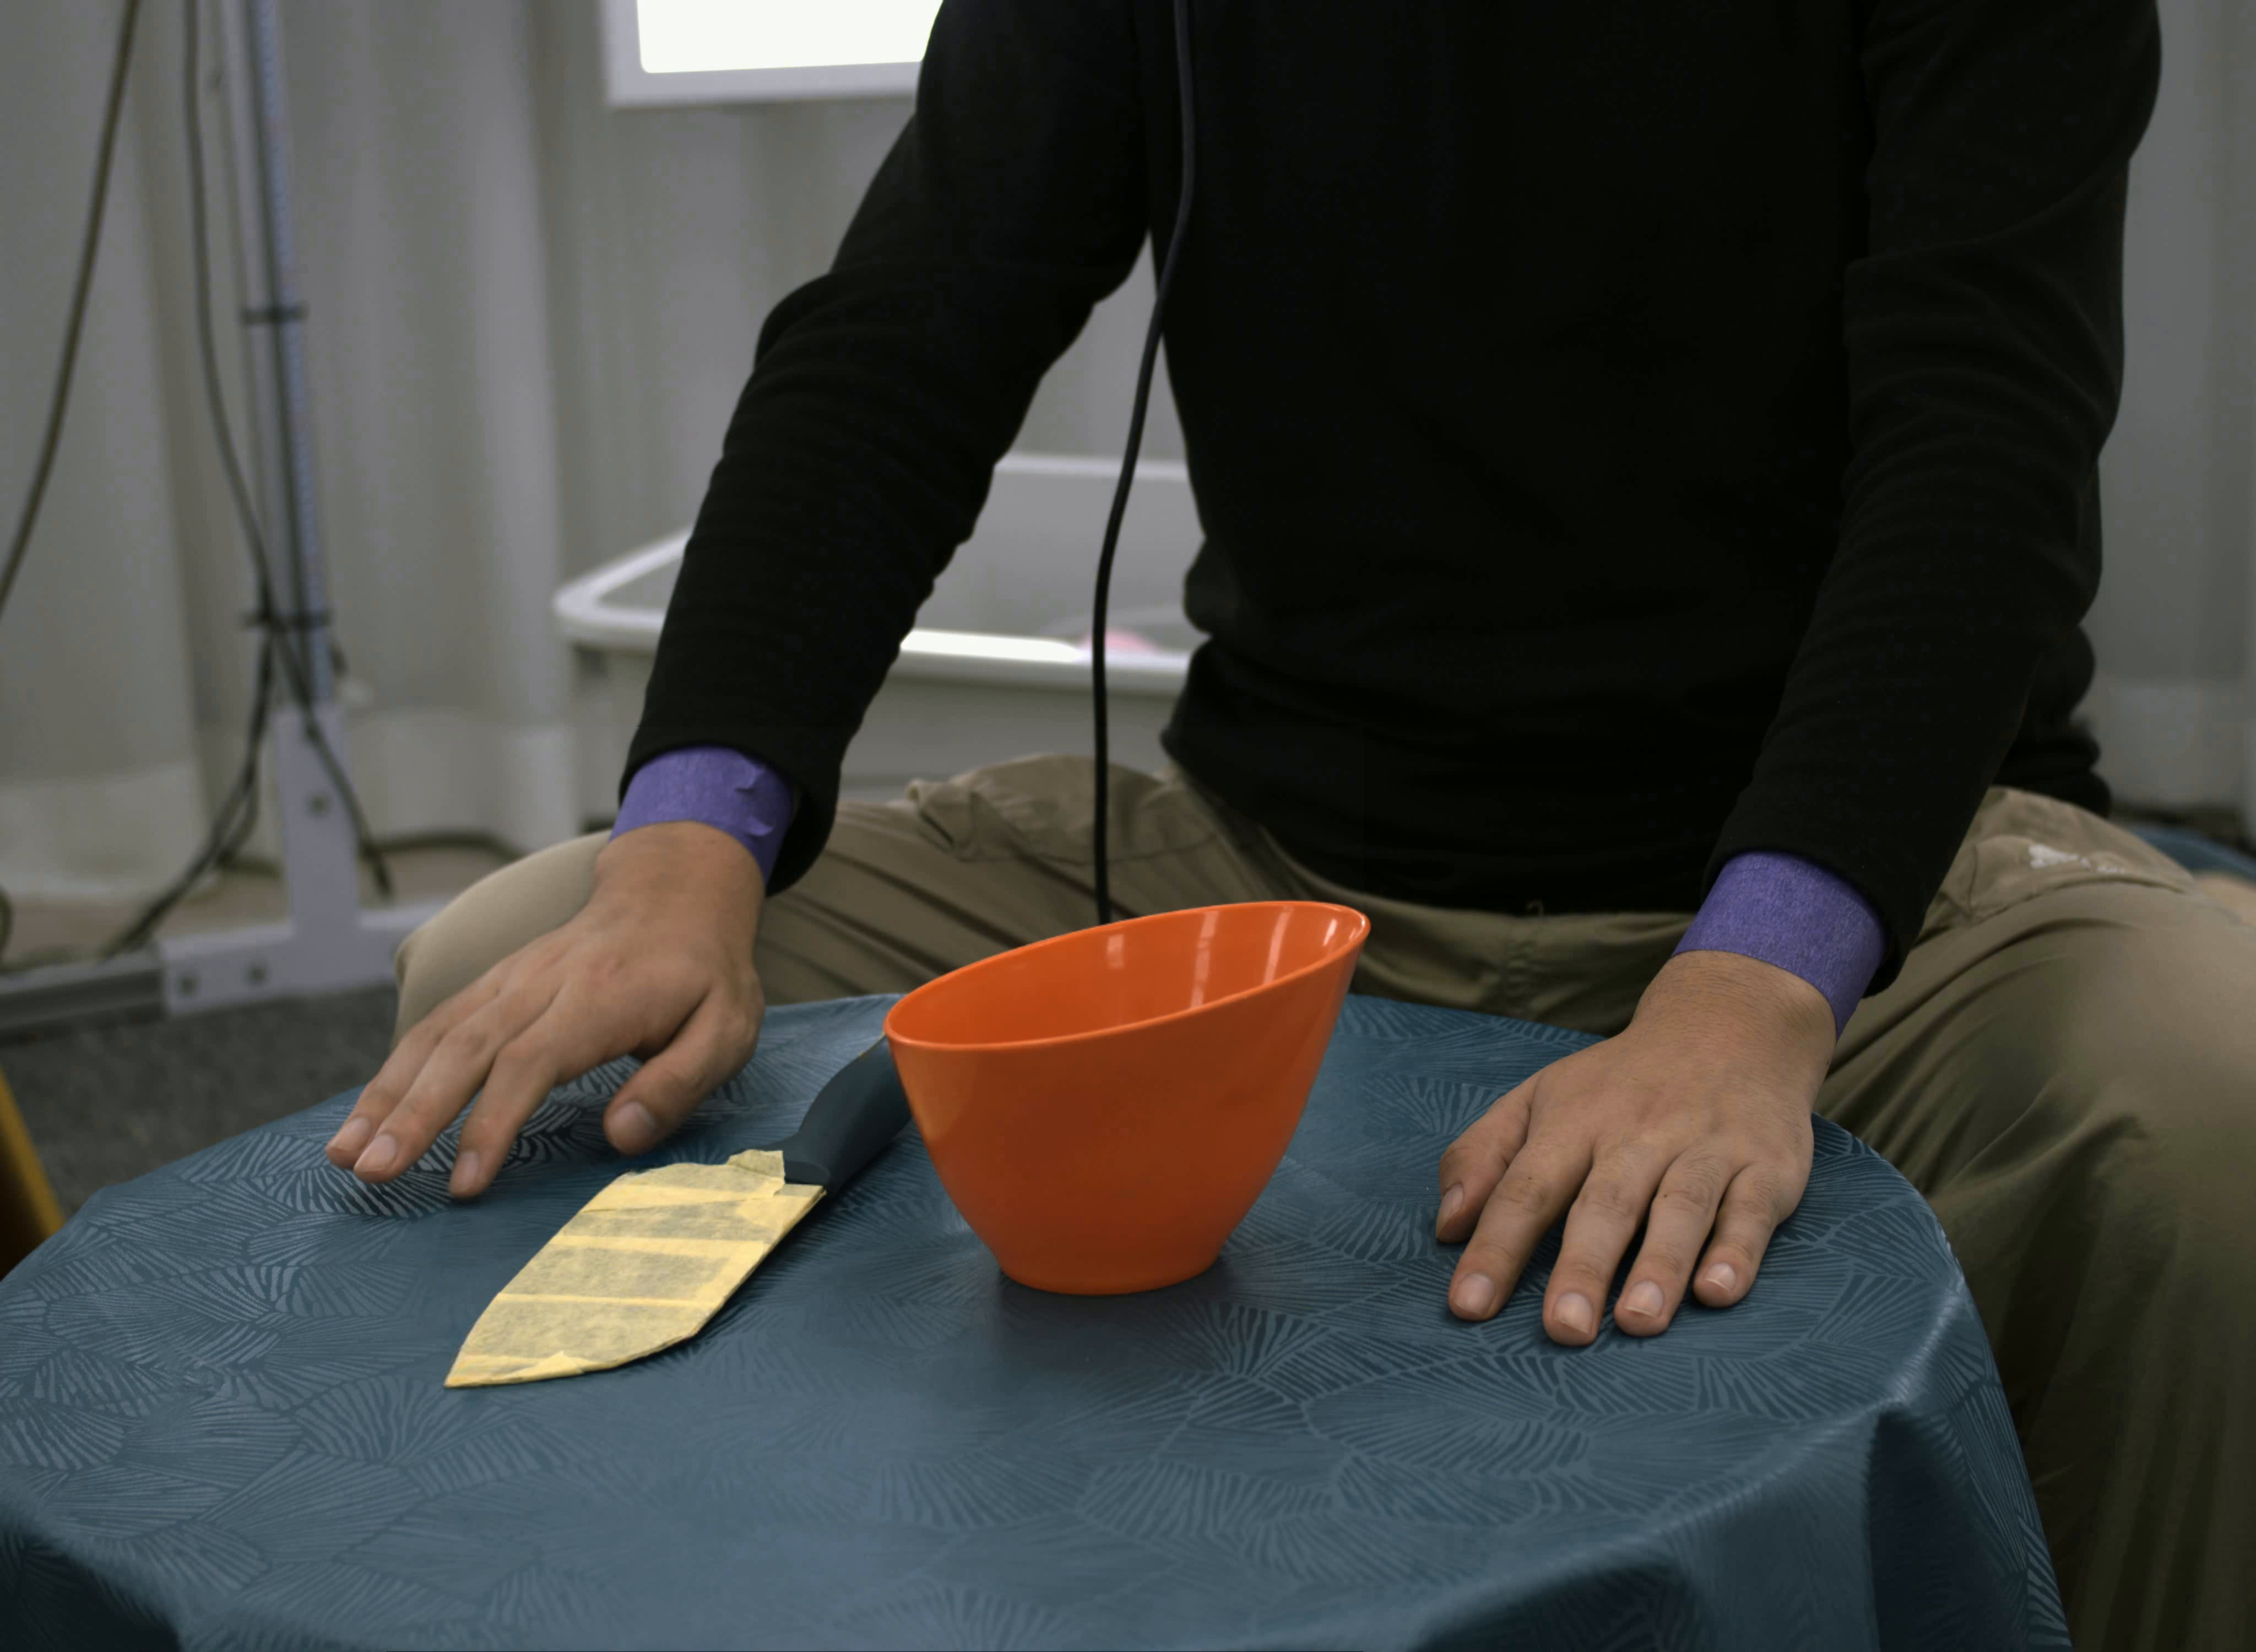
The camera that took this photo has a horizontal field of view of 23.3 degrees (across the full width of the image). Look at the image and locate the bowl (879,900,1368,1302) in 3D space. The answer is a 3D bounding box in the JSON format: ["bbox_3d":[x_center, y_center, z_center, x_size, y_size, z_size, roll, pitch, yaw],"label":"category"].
[{"bbox_3d":[0.001,0.084,1.635,0.147,0.104,0.149,-4,15,1],"label":"bowl"}]

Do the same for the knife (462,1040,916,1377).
[{"bbox_3d":[-0.129,0.118,1.700,0.081,0.027,0.290,5,18,19],"label":"knife"}]
